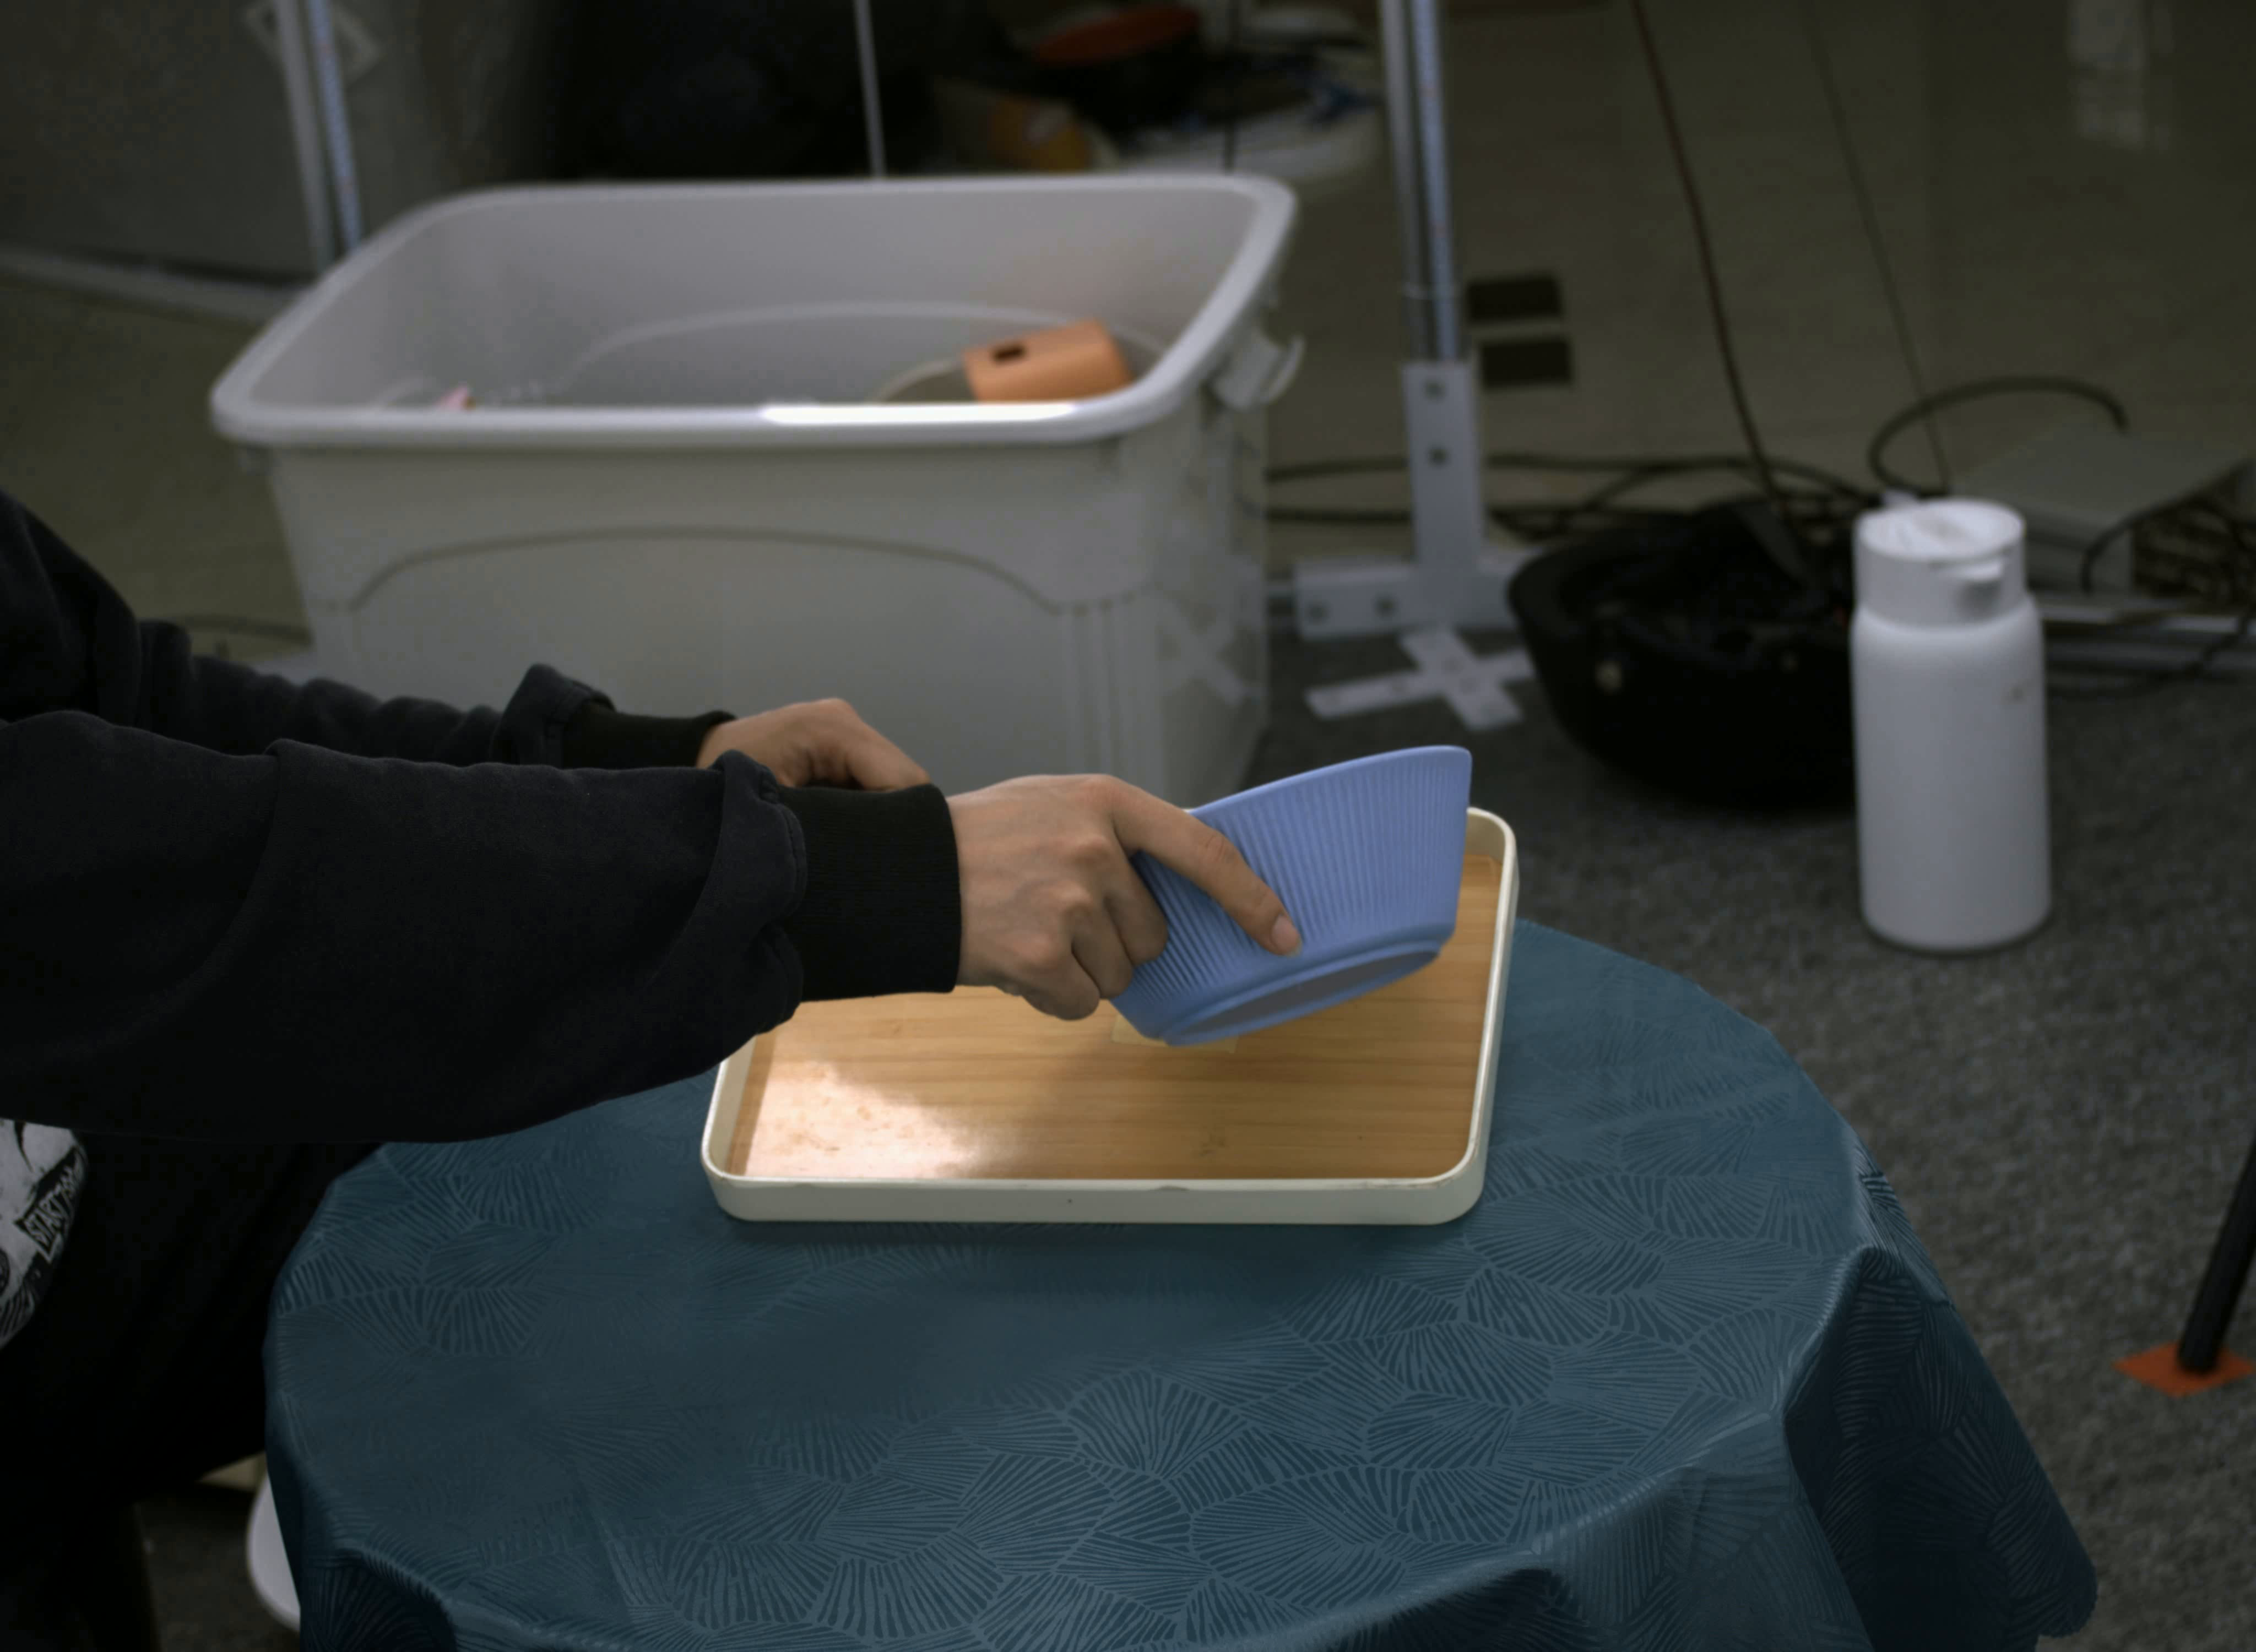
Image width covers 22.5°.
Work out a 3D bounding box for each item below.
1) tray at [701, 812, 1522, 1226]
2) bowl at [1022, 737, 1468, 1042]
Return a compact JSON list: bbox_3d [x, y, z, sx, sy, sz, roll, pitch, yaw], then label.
[{"bbox_3d":[-0.004,0.073,2.183,0.300,0.028,0.188,0,48,12],"label":"tray"},{"bbox_3d":[0.053,0.030,2.098,0.176,0.070,0.177,-18,-9,-3],"label":"bowl"}]
